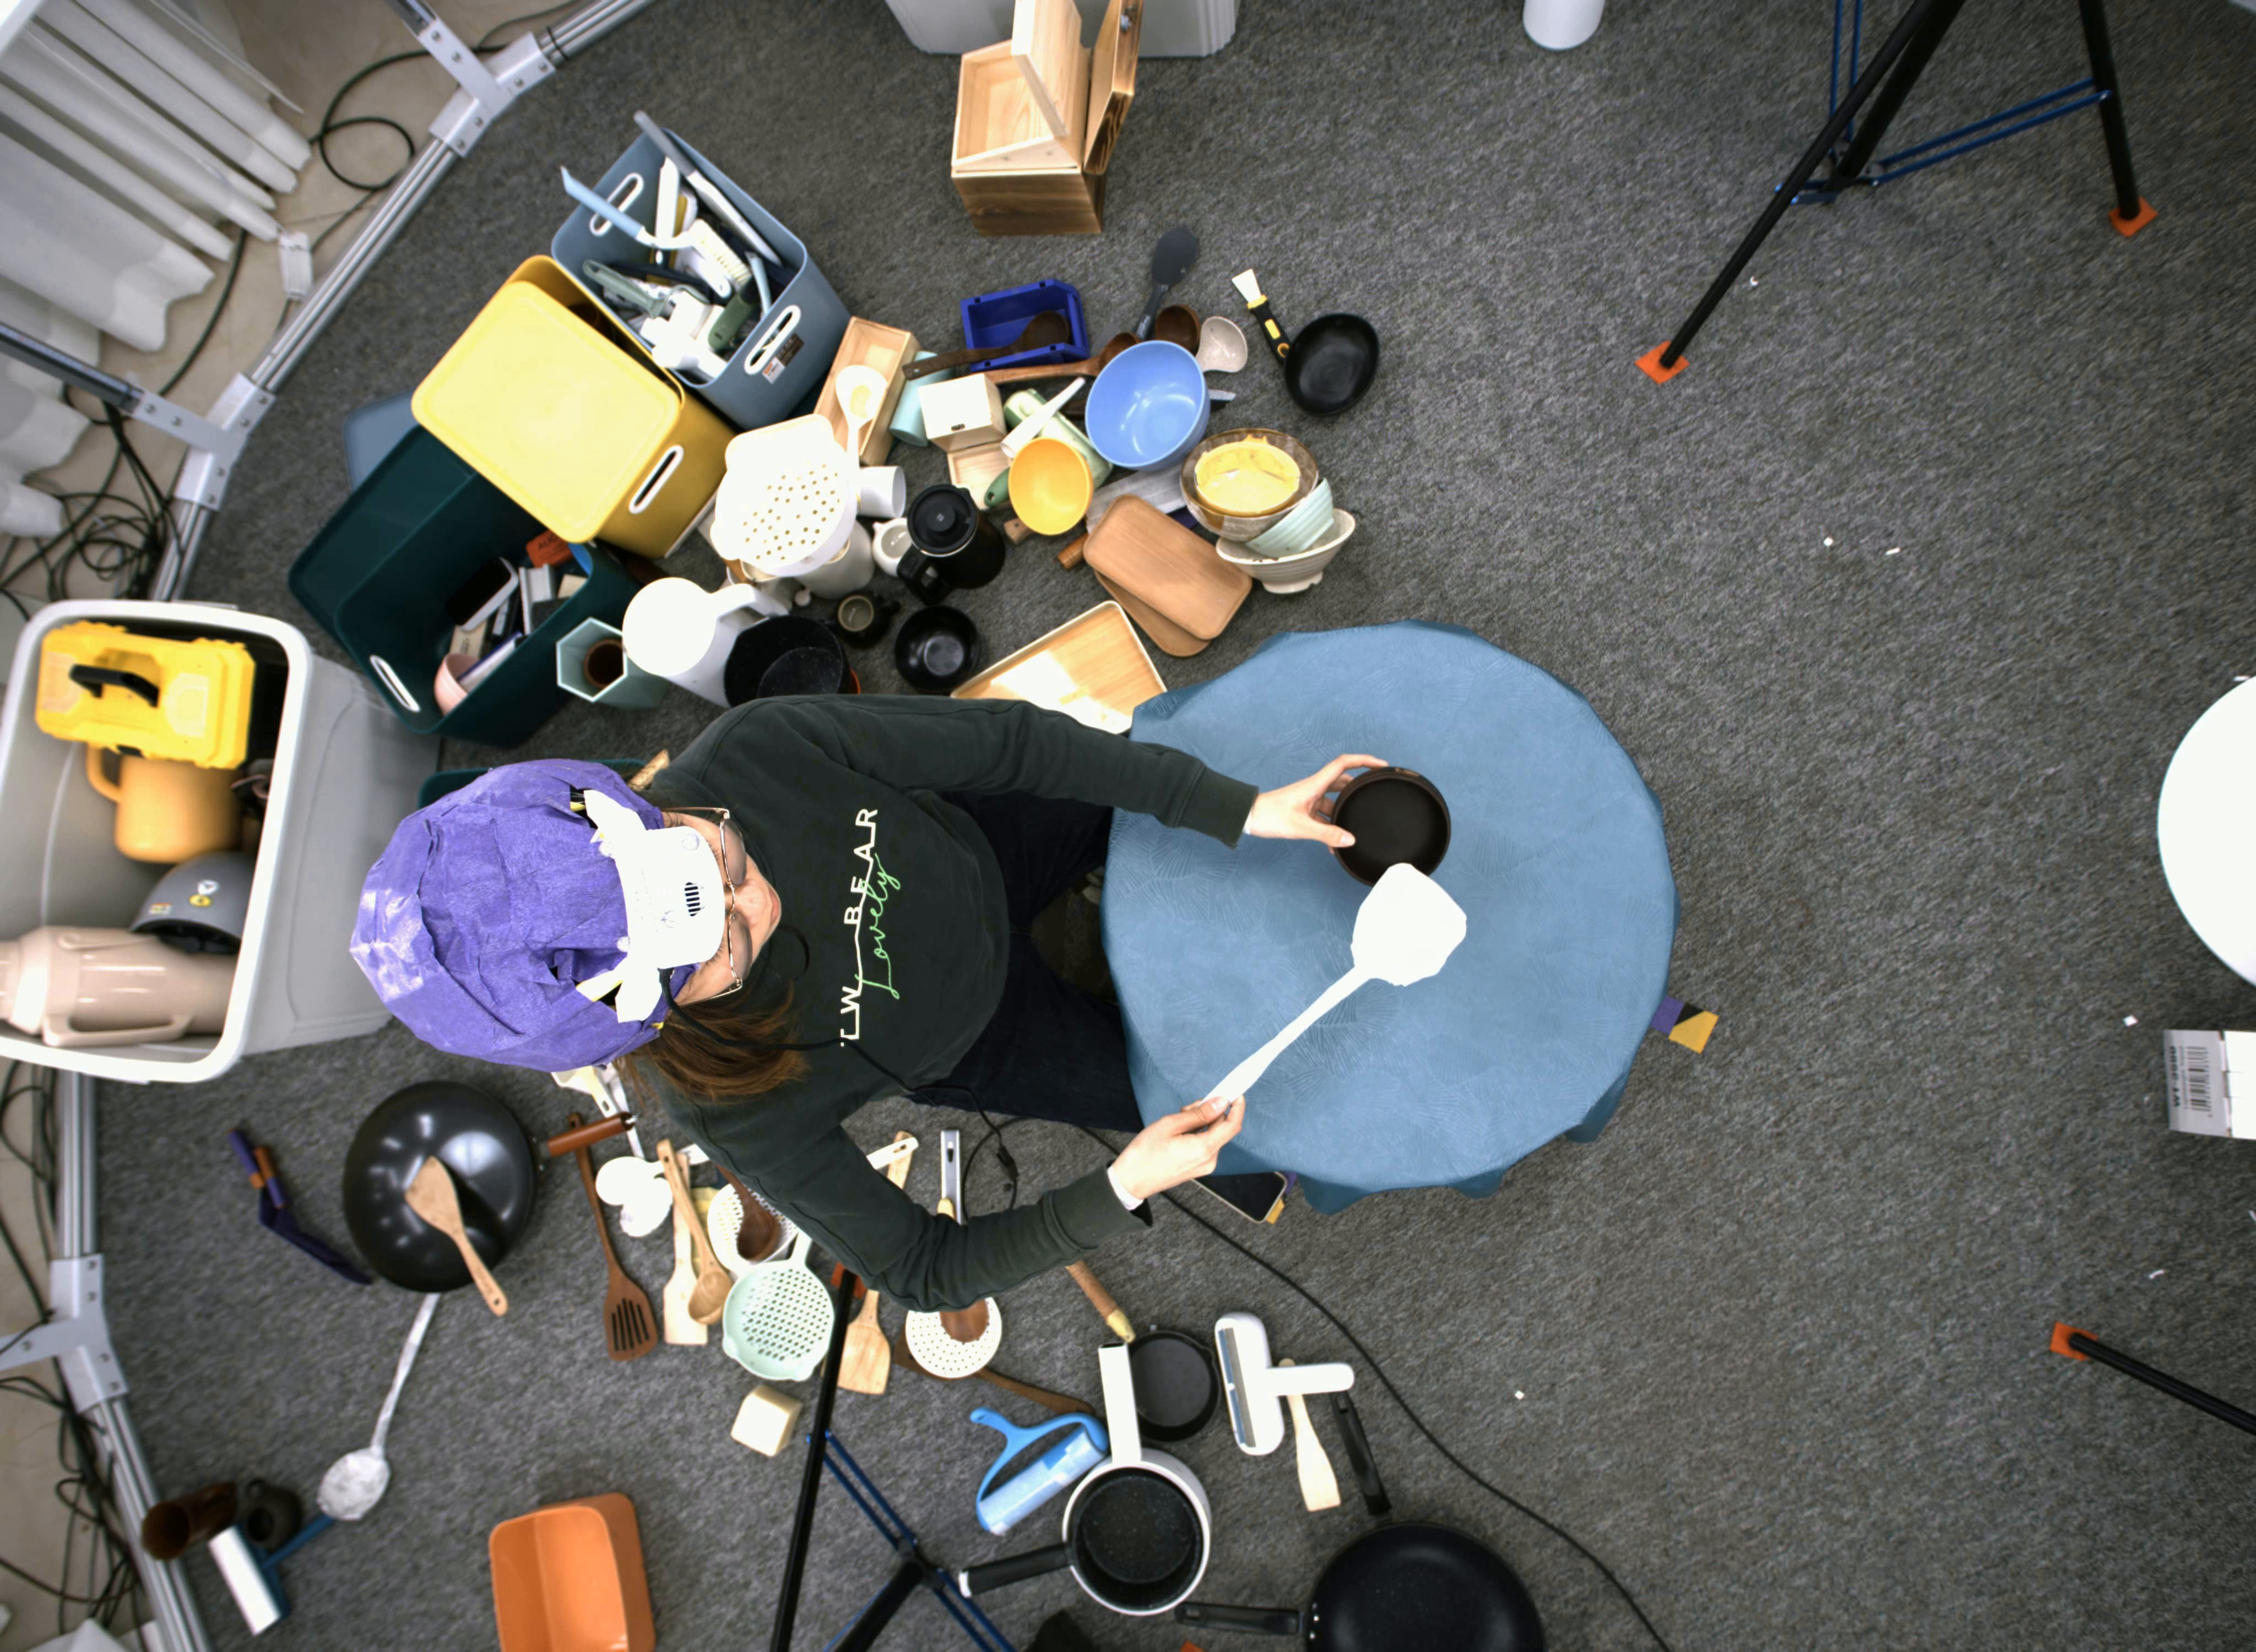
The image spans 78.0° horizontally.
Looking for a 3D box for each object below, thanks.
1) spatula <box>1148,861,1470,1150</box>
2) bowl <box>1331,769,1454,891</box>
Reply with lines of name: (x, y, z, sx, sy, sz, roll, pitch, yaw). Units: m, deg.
spatula: (0.158, 0.178, 1.276, 0.364, 0.045, 0.097, -41, 66, -1)
bowl: (0.258, -0.001, 1.348, 0.118, 0.068, 0.119, 3, 107, 11)
